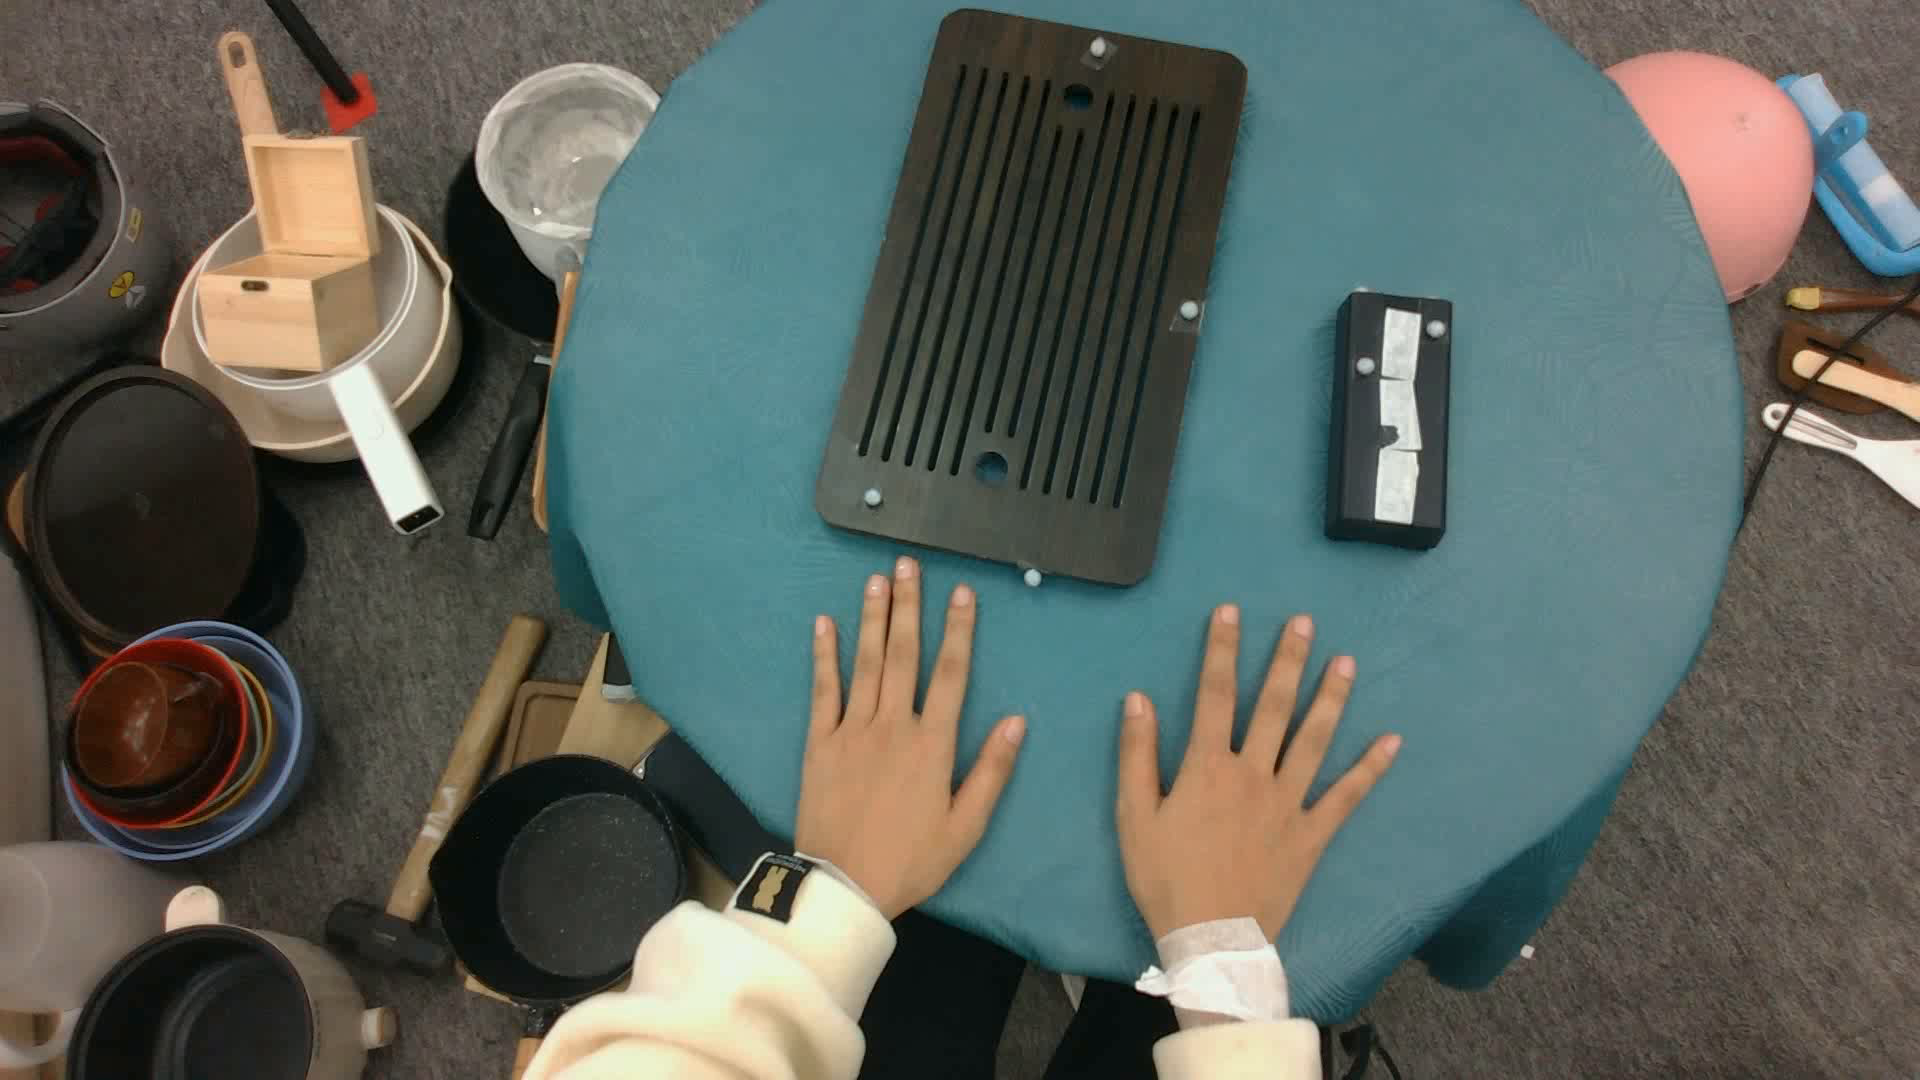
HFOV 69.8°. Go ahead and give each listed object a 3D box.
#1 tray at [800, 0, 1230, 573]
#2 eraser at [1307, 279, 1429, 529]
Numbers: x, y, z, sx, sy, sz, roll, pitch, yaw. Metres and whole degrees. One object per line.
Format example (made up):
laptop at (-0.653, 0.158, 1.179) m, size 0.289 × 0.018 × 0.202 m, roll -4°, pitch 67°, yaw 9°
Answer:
tray at (0.034, -0.140, 0.710) m, size 0.170 × 0.018 × 0.307 m, roll 11°, pitch 72°, yaw 4°
eraser at (0.201, -0.068, 0.680) m, size 0.053 × 0.030 × 0.126 m, roll 6°, pitch 73°, yaw 5°
